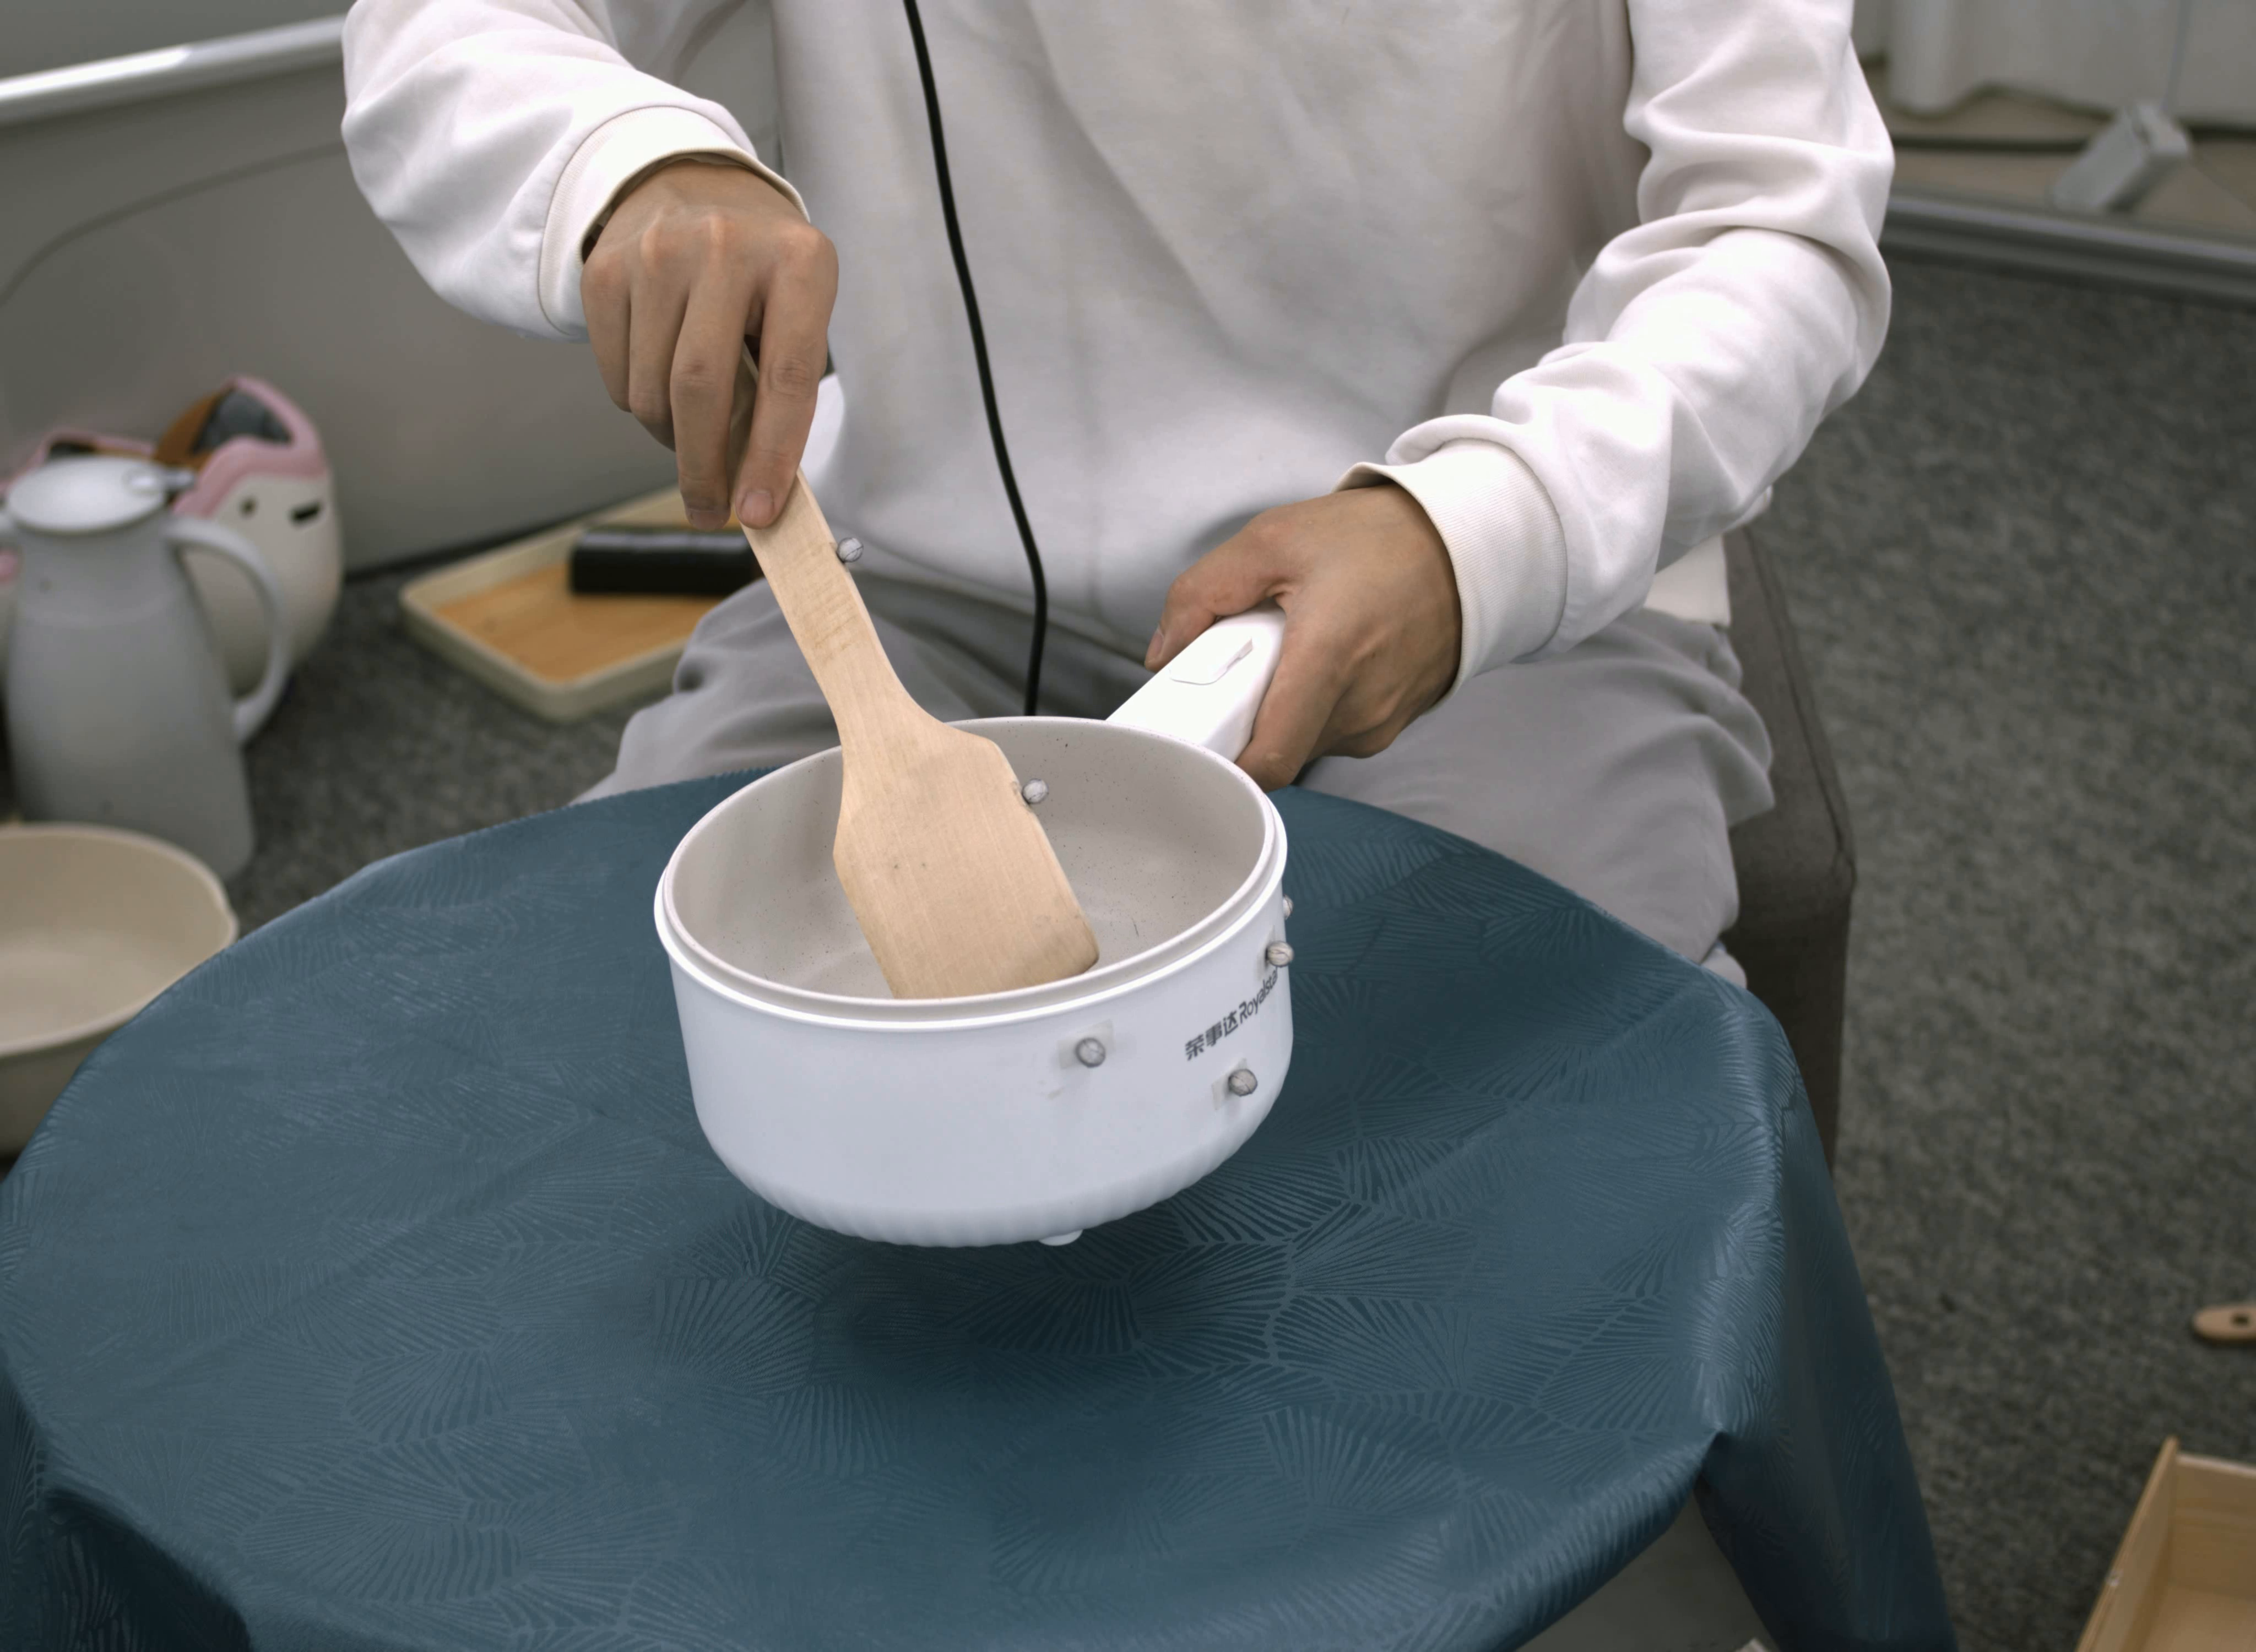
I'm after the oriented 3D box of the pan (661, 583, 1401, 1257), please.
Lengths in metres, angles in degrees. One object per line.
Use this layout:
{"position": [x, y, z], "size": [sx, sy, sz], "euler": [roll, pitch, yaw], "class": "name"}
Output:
{"position": [-0.006, 0.028, 1.857], "size": [0.199, 0.101, 0.360], "euler": [5, 26, 30], "class": "pan"}
